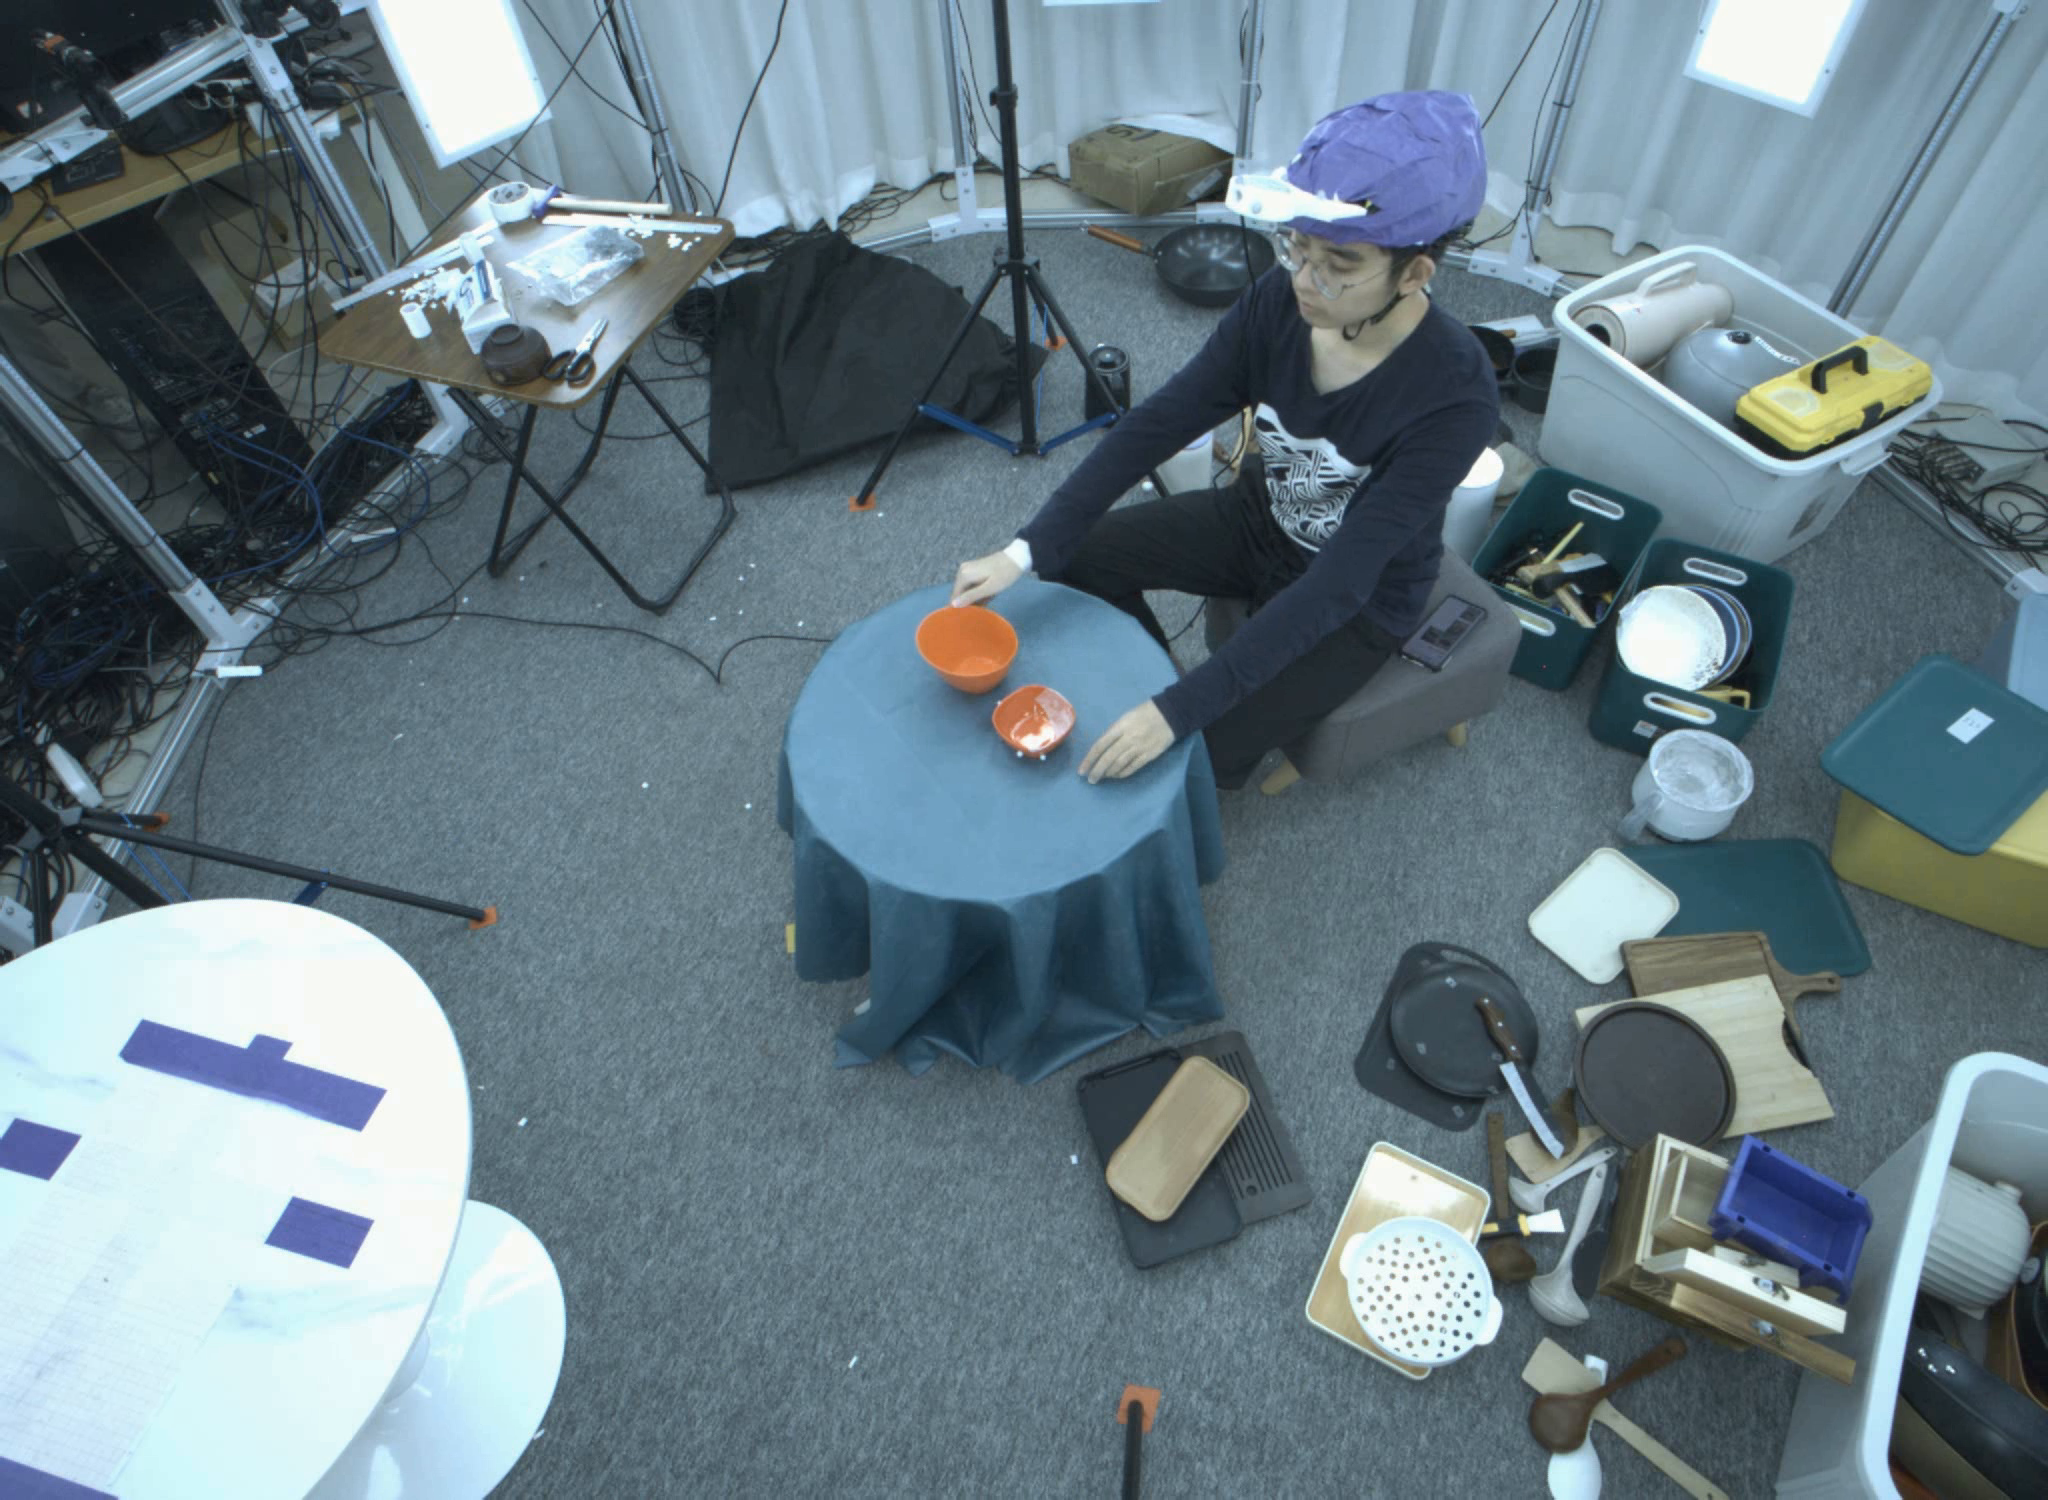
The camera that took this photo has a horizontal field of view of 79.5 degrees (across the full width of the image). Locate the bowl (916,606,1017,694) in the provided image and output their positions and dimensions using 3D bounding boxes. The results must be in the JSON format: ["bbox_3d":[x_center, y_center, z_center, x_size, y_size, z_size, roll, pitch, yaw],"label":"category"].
[{"bbox_3d":[-0.083,-0.137,1.834,0.148,0.106,0.146,0,53,1],"label":"bowl"}]

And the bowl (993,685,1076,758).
[{"bbox_3d":[0.016,-0.034,1.789,0.119,0.052,0.117,0,52,2],"label":"bowl"}]
